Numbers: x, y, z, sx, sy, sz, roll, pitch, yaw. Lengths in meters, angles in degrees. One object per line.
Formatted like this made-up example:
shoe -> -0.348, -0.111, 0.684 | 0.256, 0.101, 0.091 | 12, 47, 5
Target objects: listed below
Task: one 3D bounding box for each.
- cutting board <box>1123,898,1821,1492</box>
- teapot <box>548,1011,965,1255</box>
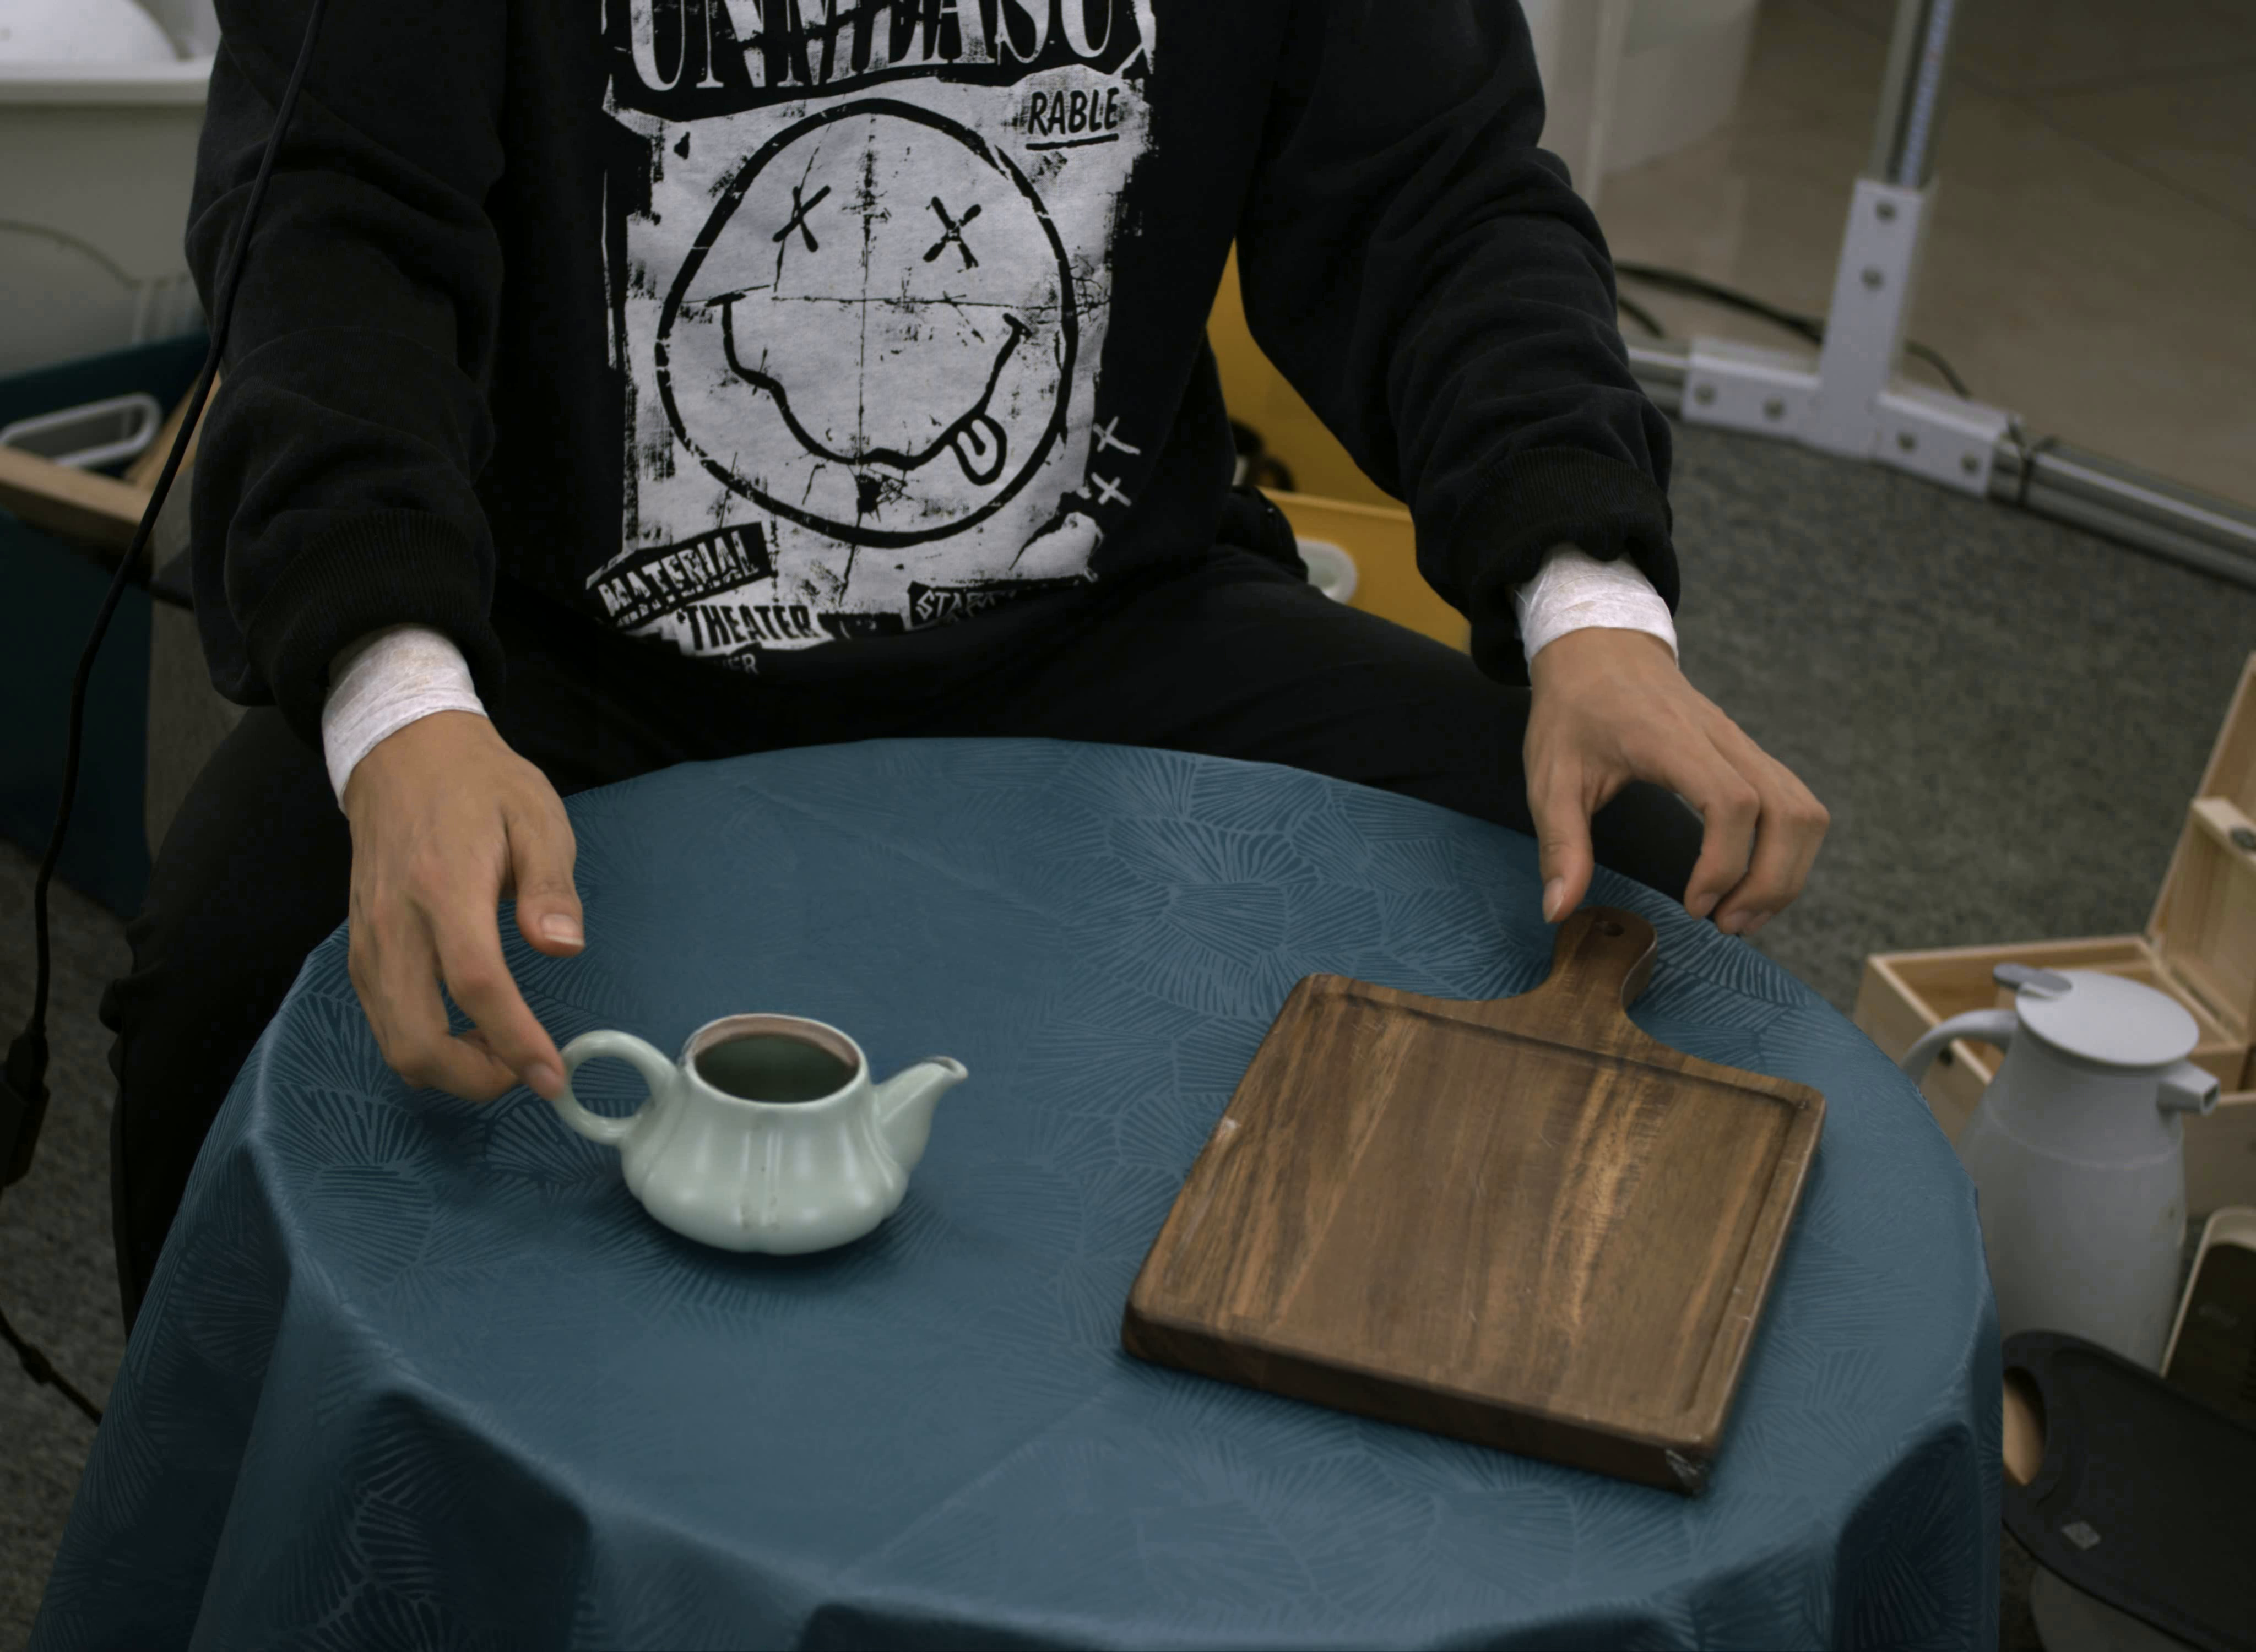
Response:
cutting board -> 0.133, 0.110, 1.837 | 0.201, 0.023, 0.353 | 12, 28, 10
teapot -> -0.124, 0.099, 1.759 | 0.136, 0.061, 0.097 | 3, 28, -7
